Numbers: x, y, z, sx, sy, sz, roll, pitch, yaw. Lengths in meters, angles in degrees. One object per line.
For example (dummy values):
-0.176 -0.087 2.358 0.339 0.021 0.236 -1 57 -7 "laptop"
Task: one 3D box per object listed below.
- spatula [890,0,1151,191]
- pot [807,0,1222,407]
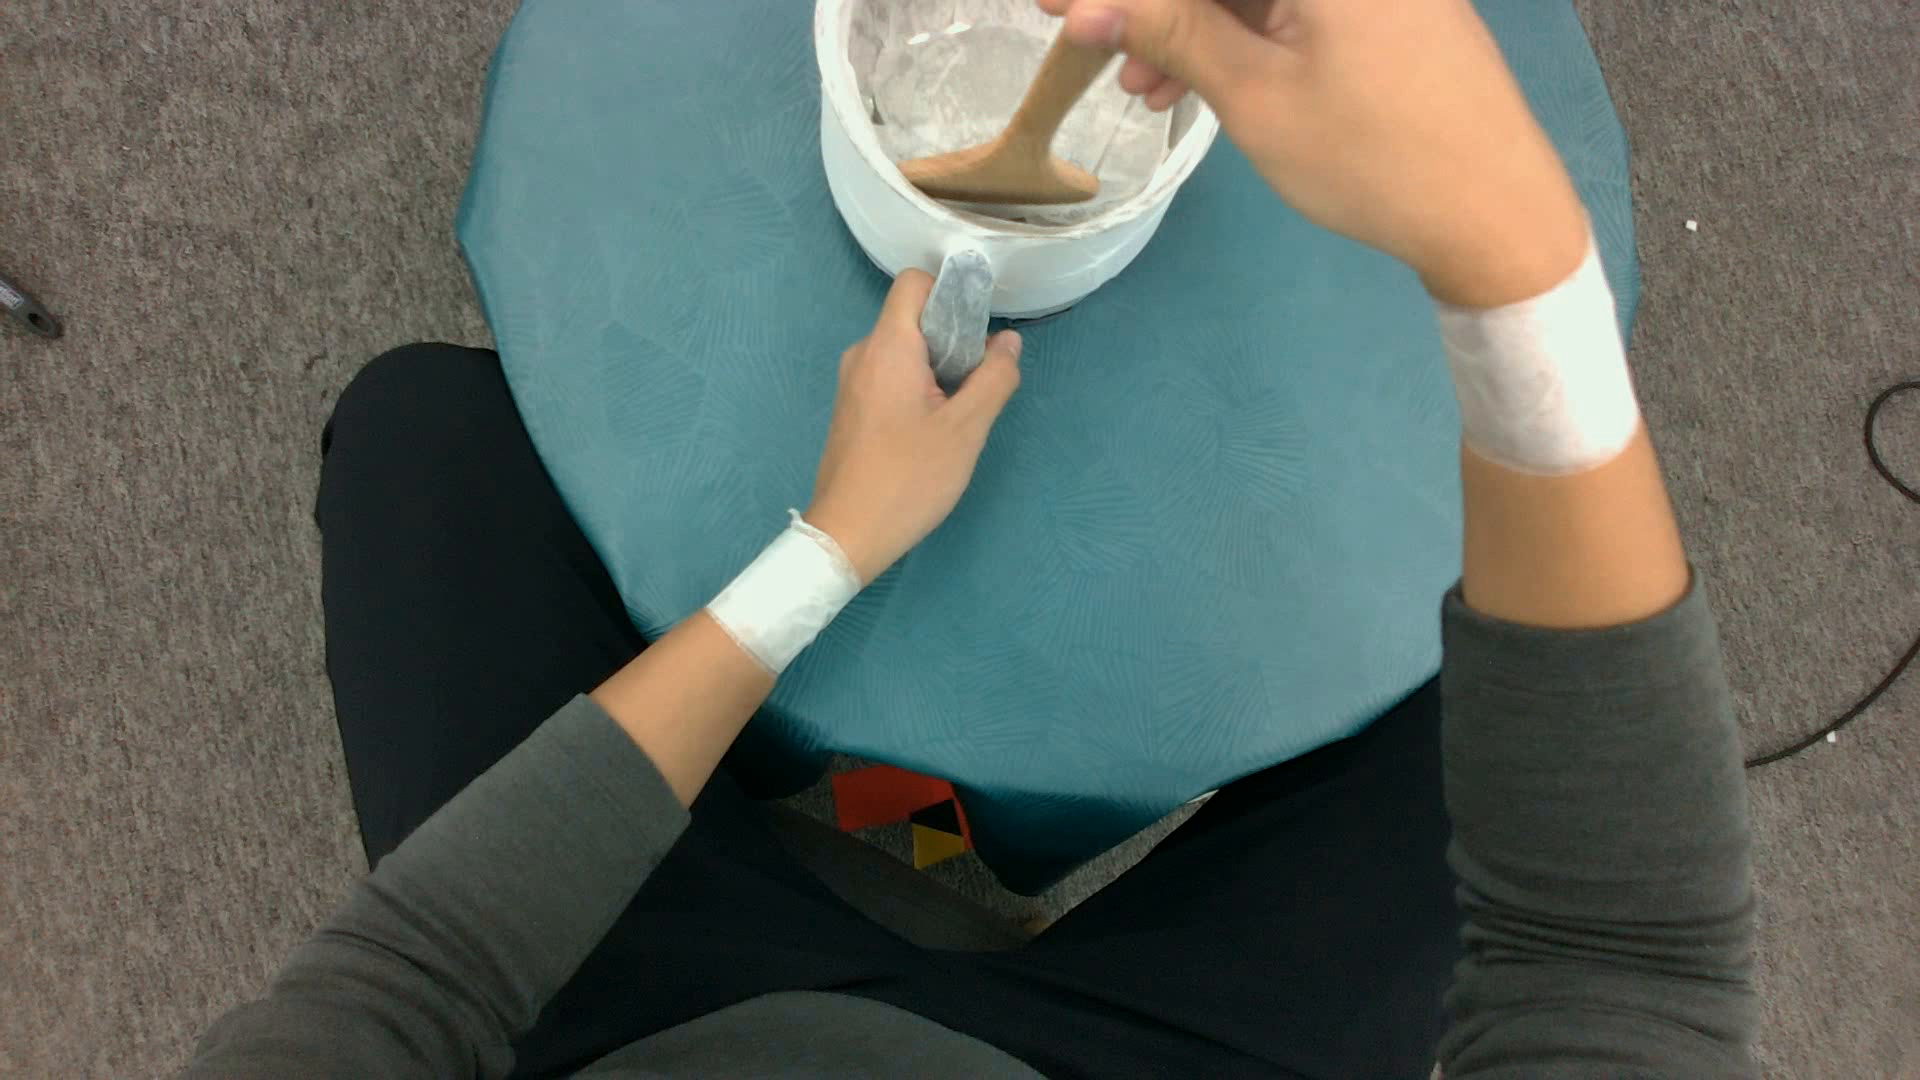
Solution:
0.036 -0.156 0.456 0.096 0.390 0.018 0 91 -8 "spatula"
0.012 -0.181 0.639 0.179 0.136 0.234 14 82 -4 "pot"
